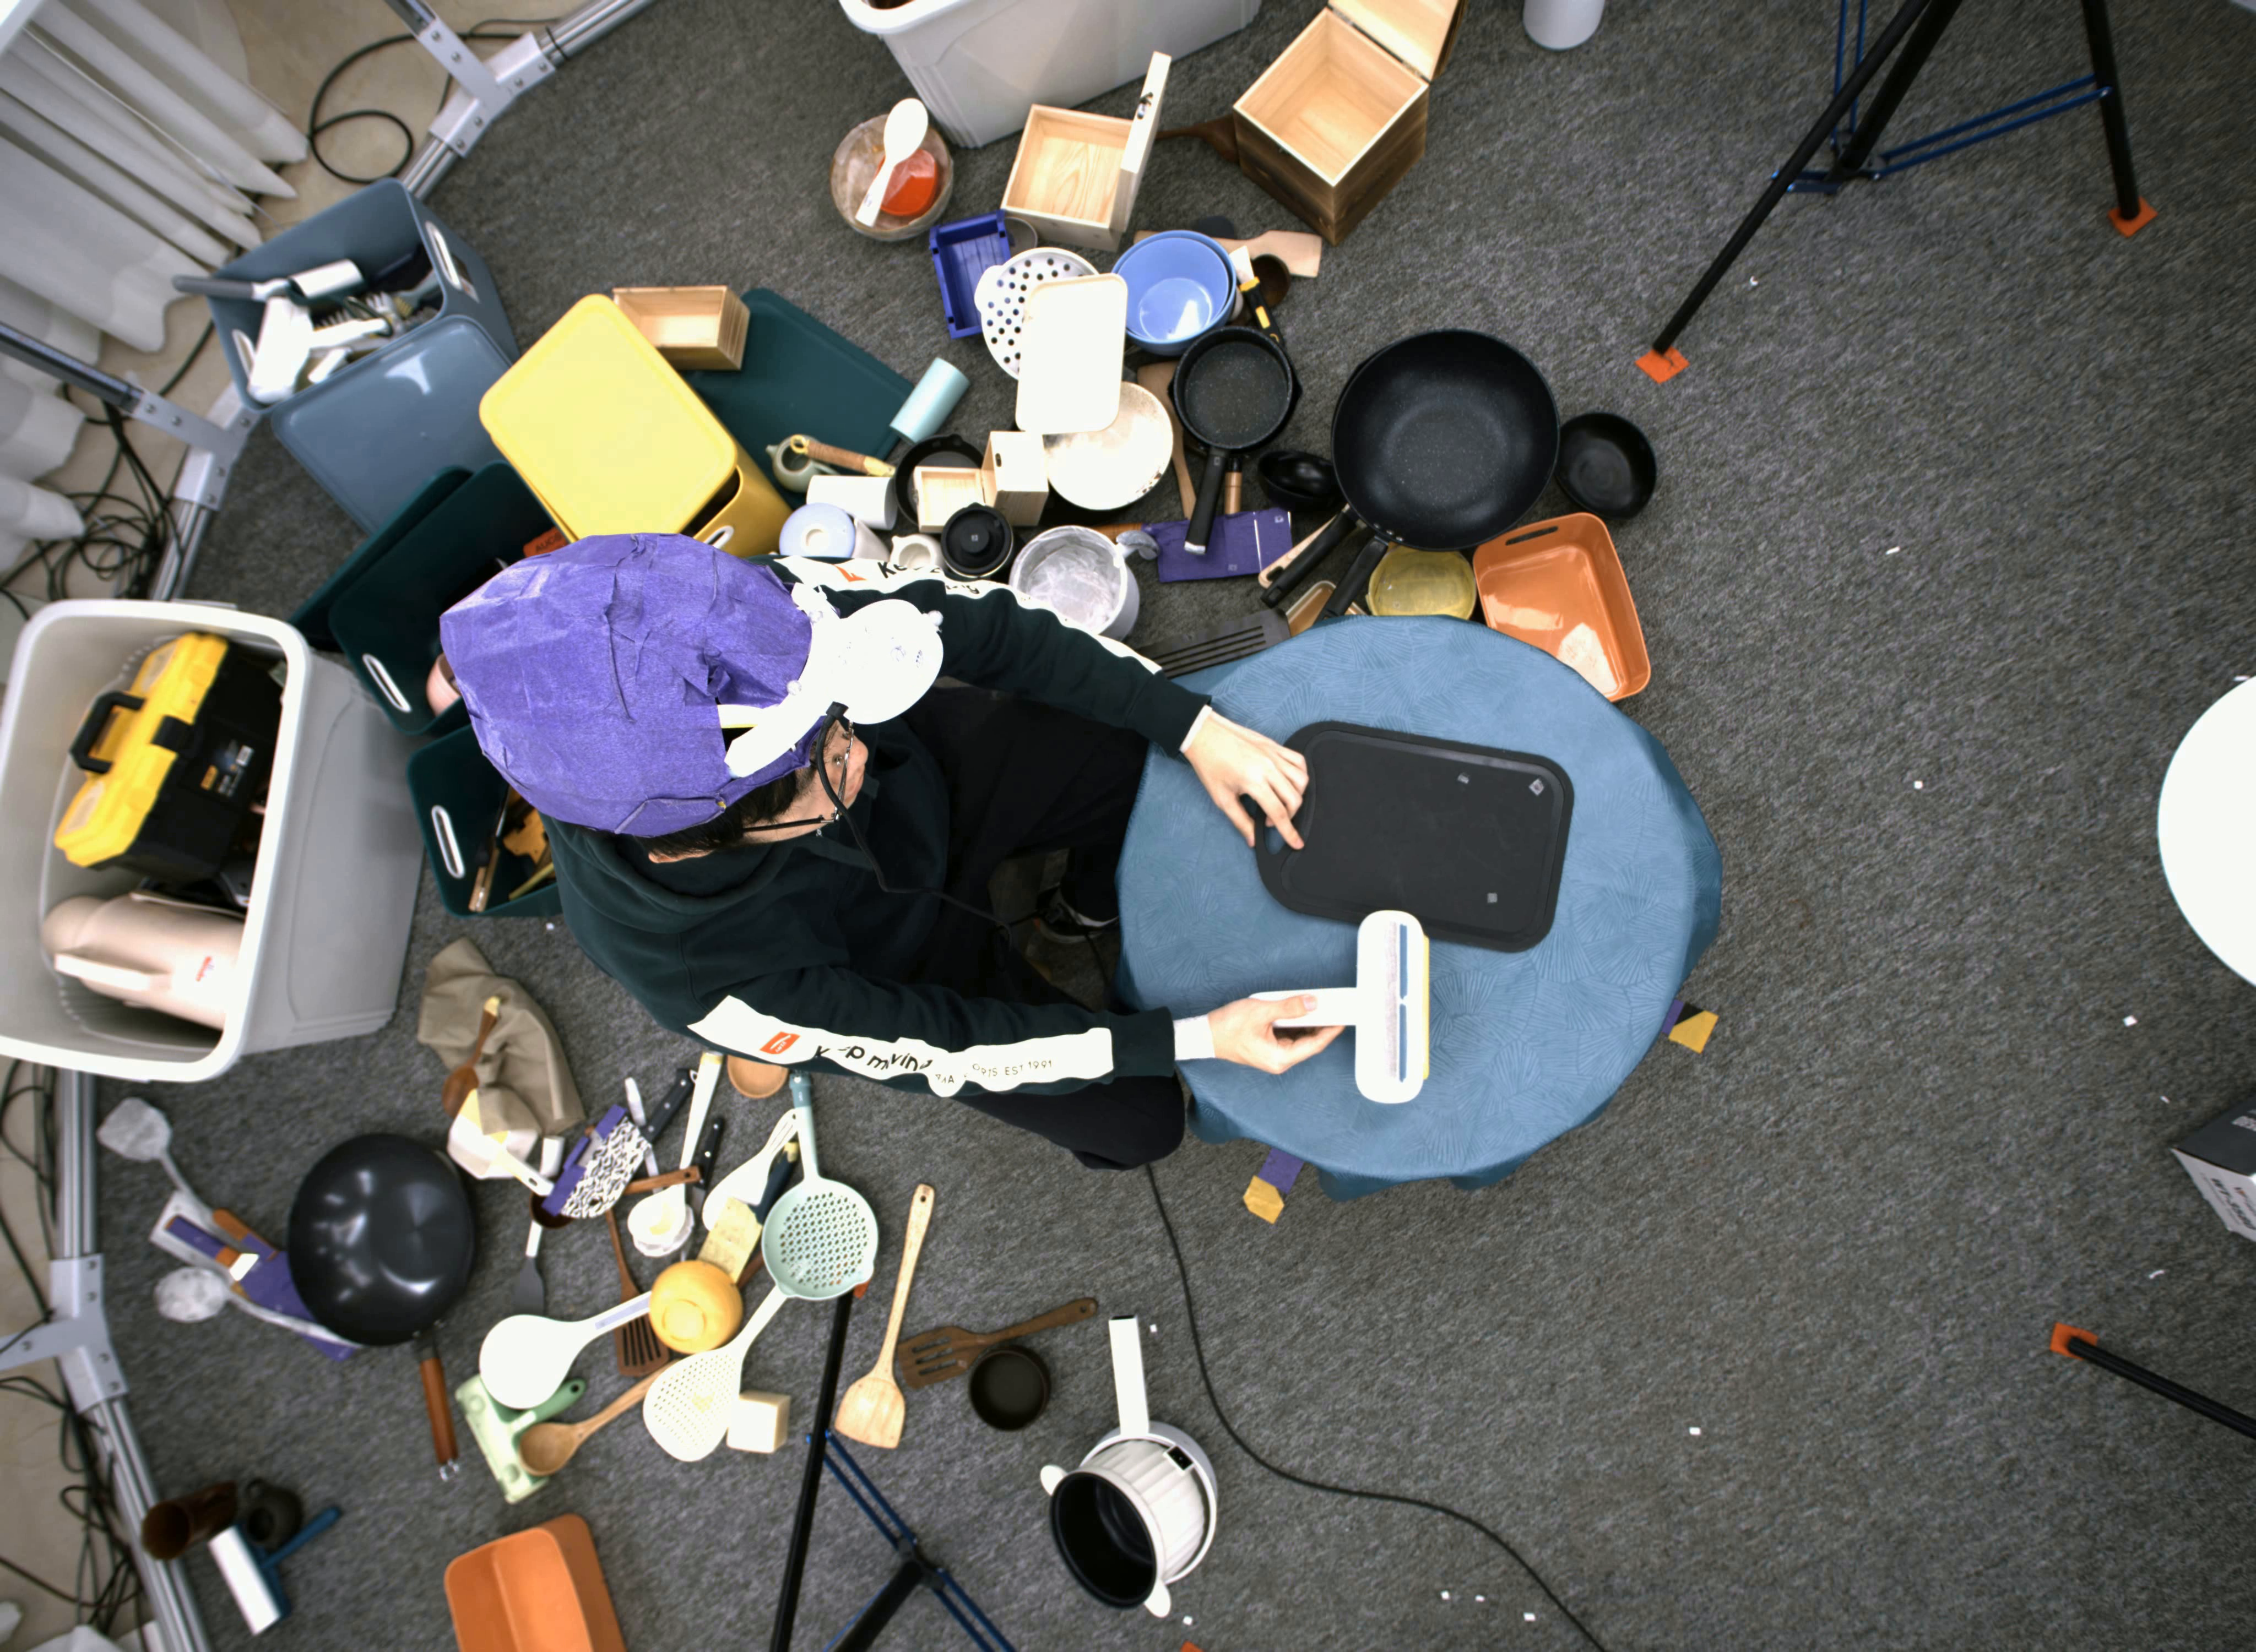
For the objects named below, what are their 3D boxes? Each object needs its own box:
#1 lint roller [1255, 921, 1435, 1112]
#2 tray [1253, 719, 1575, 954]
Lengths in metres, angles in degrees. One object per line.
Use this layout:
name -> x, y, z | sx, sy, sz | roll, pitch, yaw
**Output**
lint roller -> 0.212, 0.189, 1.407 | 0.194, 0.075, 0.190 | 0, 72, 28
tray -> 0.295, 0.006, 1.445 | 0.326, 0.010, 0.210 | 11, 88, 8
